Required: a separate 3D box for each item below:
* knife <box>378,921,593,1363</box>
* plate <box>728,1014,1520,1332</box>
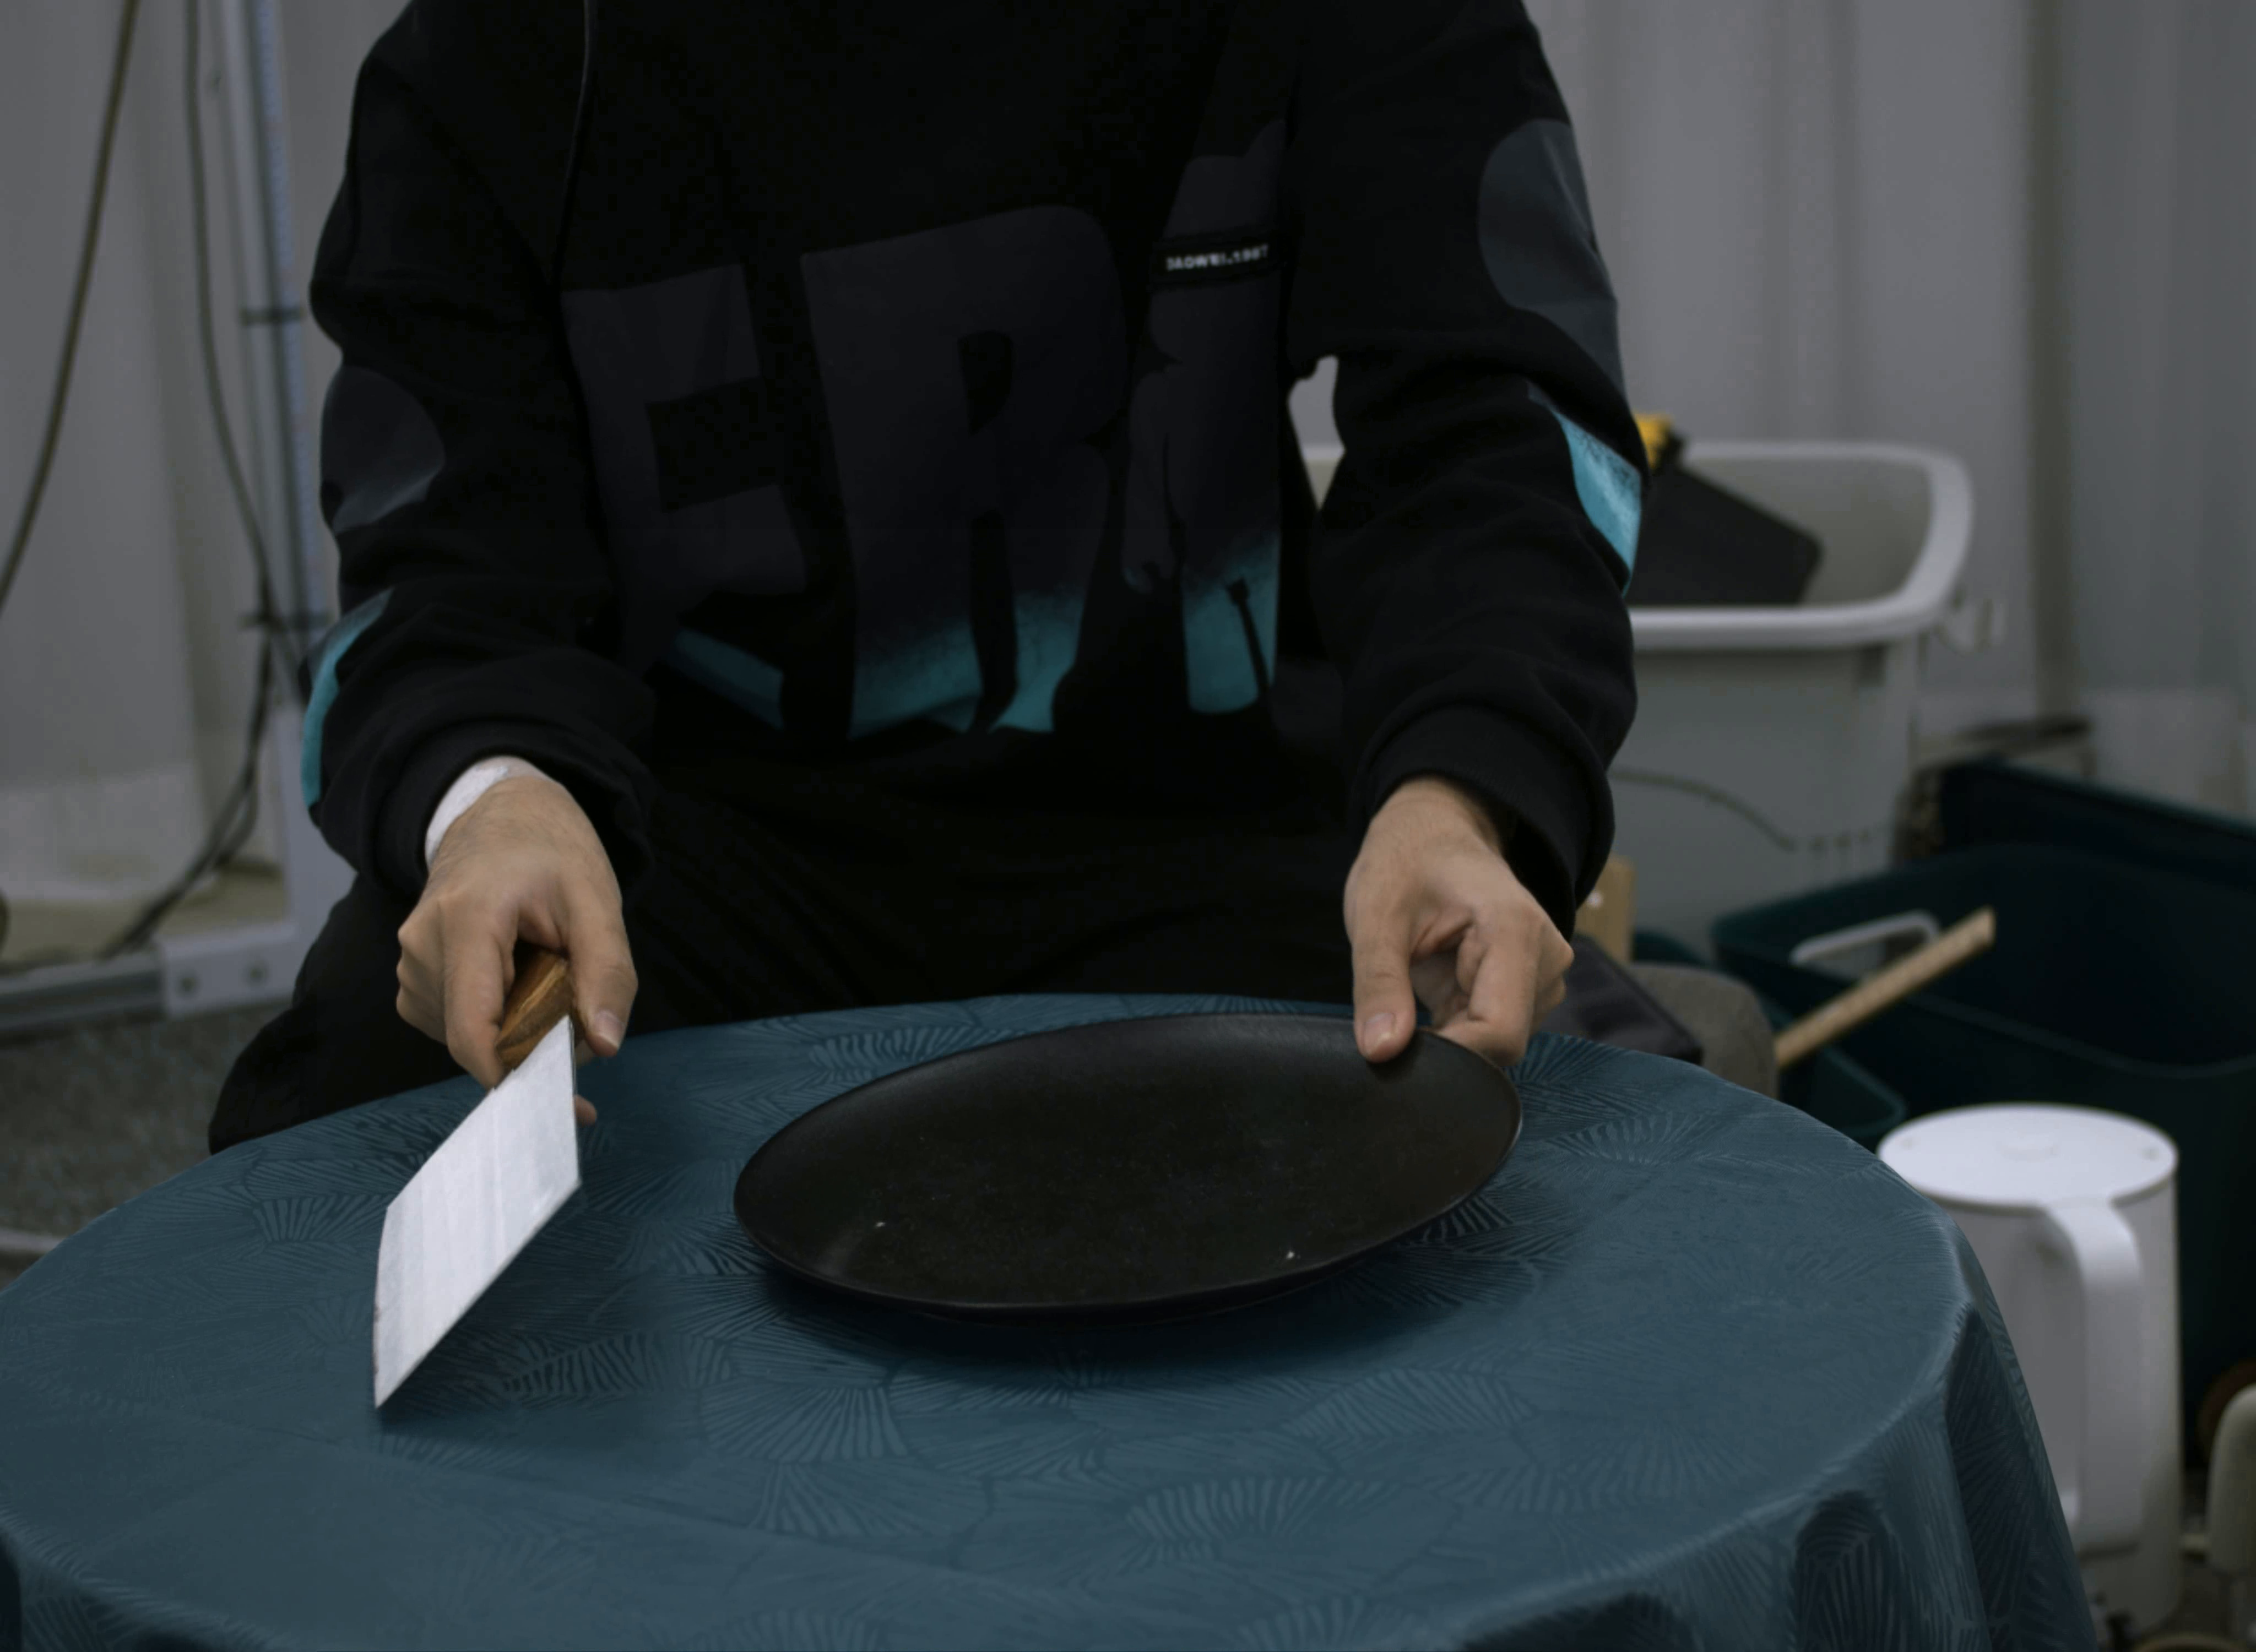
[{"bbox_3d":[-0.200,0.097,1.690,0.093,0.021,0.308,-47,14,5],"label":"knife"},{"bbox_3d":[0.000,0.109,1.669,0.243,0.023,0.246,-6,17,1],"label":"plate"}]
